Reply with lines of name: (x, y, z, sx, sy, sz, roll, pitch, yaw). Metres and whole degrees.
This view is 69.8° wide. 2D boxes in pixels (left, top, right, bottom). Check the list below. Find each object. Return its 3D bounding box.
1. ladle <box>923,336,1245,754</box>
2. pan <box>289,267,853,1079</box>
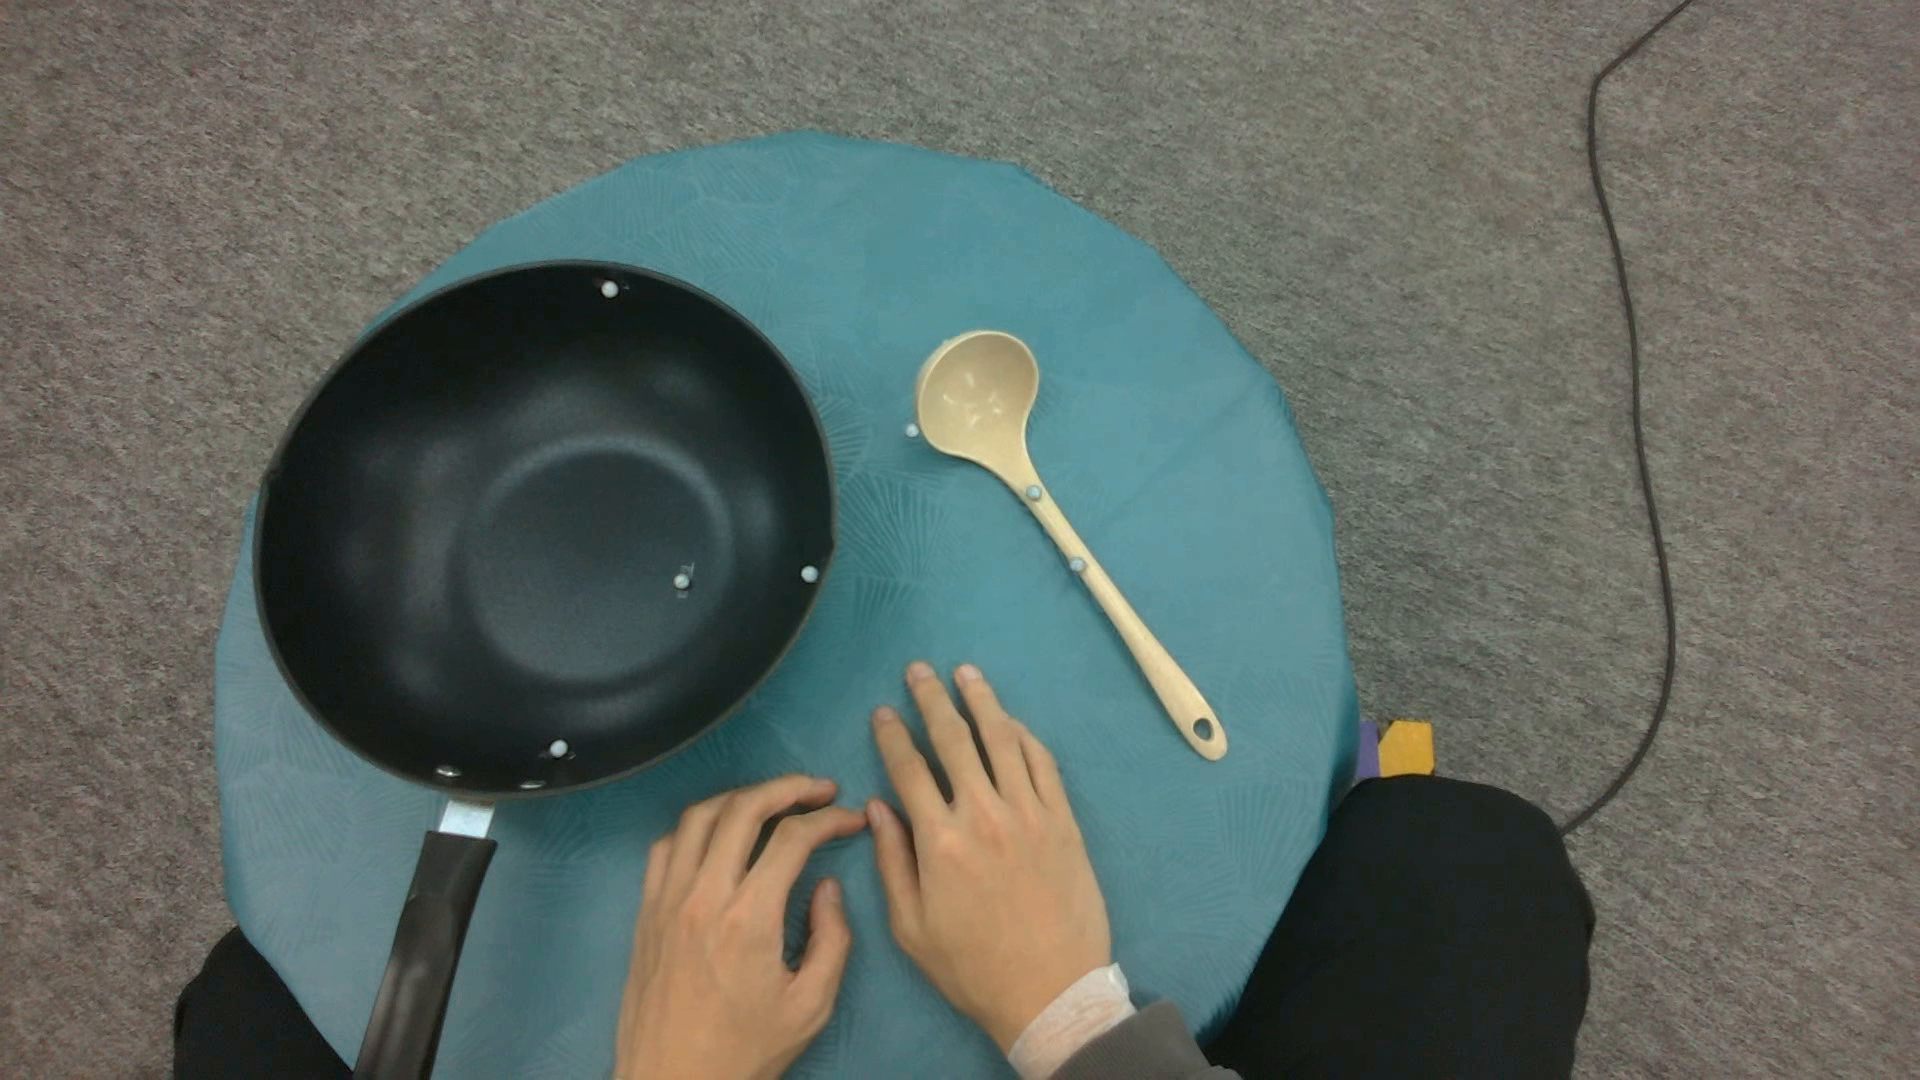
ladle: (0.071, -0.001, 0.715, 0.072, 0.072, 0.255, -33, 71, -14)
pan: (-0.208, 0.086, 0.692, 0.288, 0.086, 0.464, 8, 72, 6)
